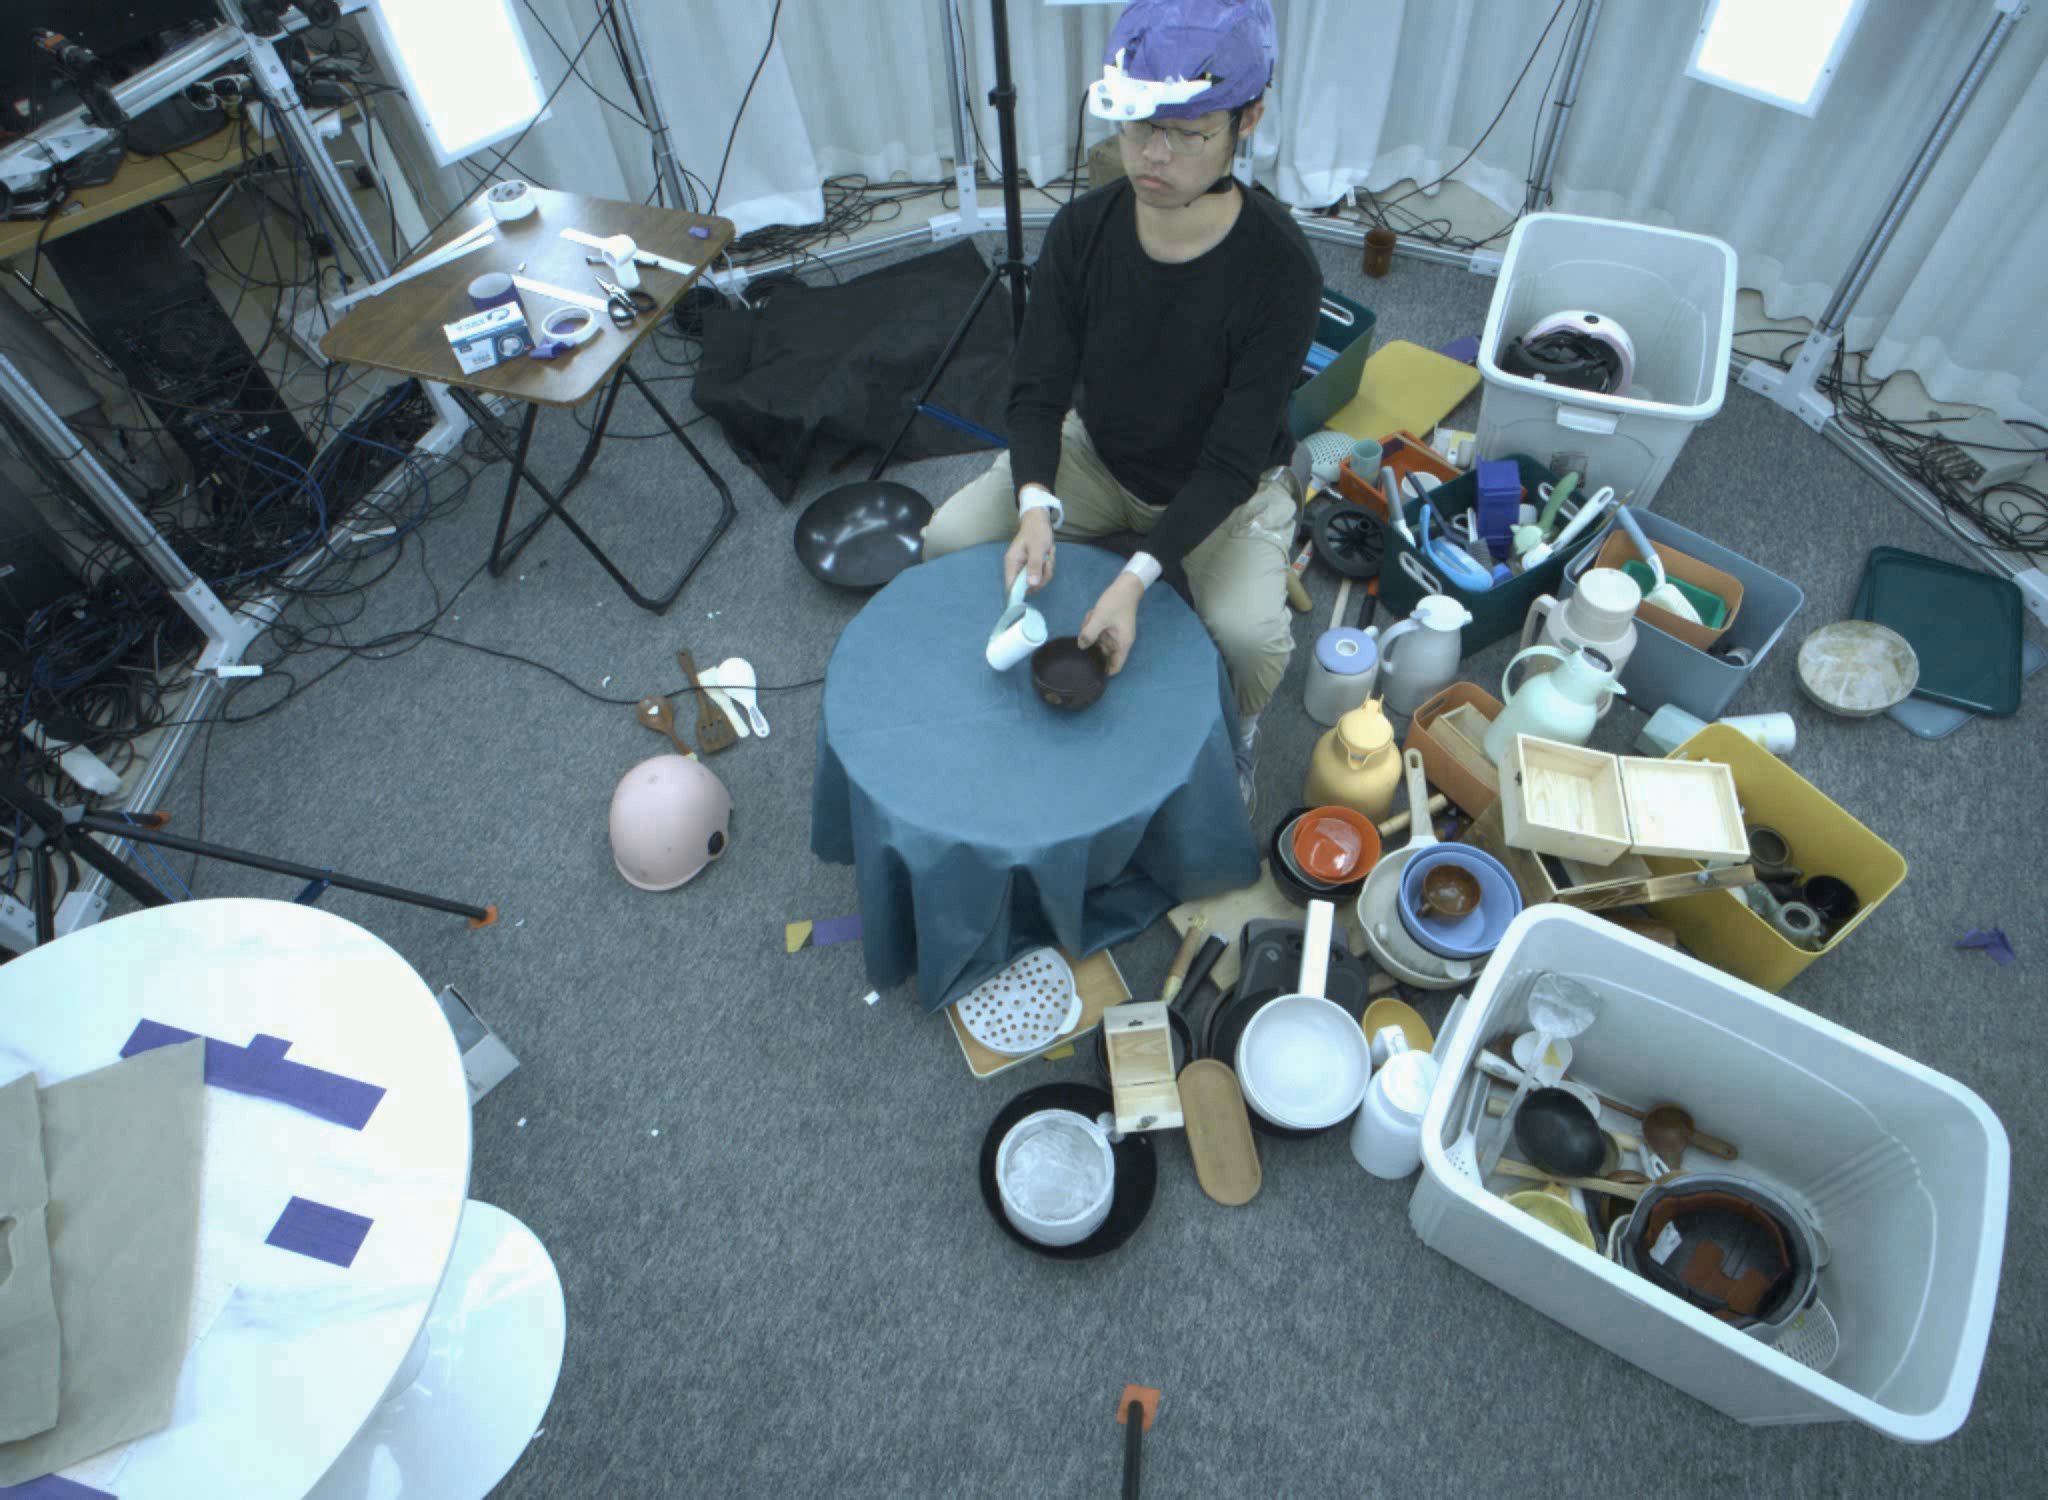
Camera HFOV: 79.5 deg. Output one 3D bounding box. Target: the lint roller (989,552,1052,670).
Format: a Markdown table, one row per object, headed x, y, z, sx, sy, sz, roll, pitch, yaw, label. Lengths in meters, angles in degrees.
| x | y | z | sx | sy | sz | roll | pitch | yaw | label |
| --- | --- | --- | --- | --- | --- | --- | --- | --- | --- |
| 0.004 | -0.222 | 1.831 | 0.049 | 0.115 | 0.196 | 22 | 62 | -23 | lint roller |

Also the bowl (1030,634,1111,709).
| x | y | z | sx | sy | sz | roll | pitch | yaw | label |
| --- | --- | --- | --- | --- | --- | --- | --- | --- | --- |
| 0.069 | -0.107 | 1.815 | 0.118 | 0.070 | 0.117 | 0 | 51 | 2 | bowl |
